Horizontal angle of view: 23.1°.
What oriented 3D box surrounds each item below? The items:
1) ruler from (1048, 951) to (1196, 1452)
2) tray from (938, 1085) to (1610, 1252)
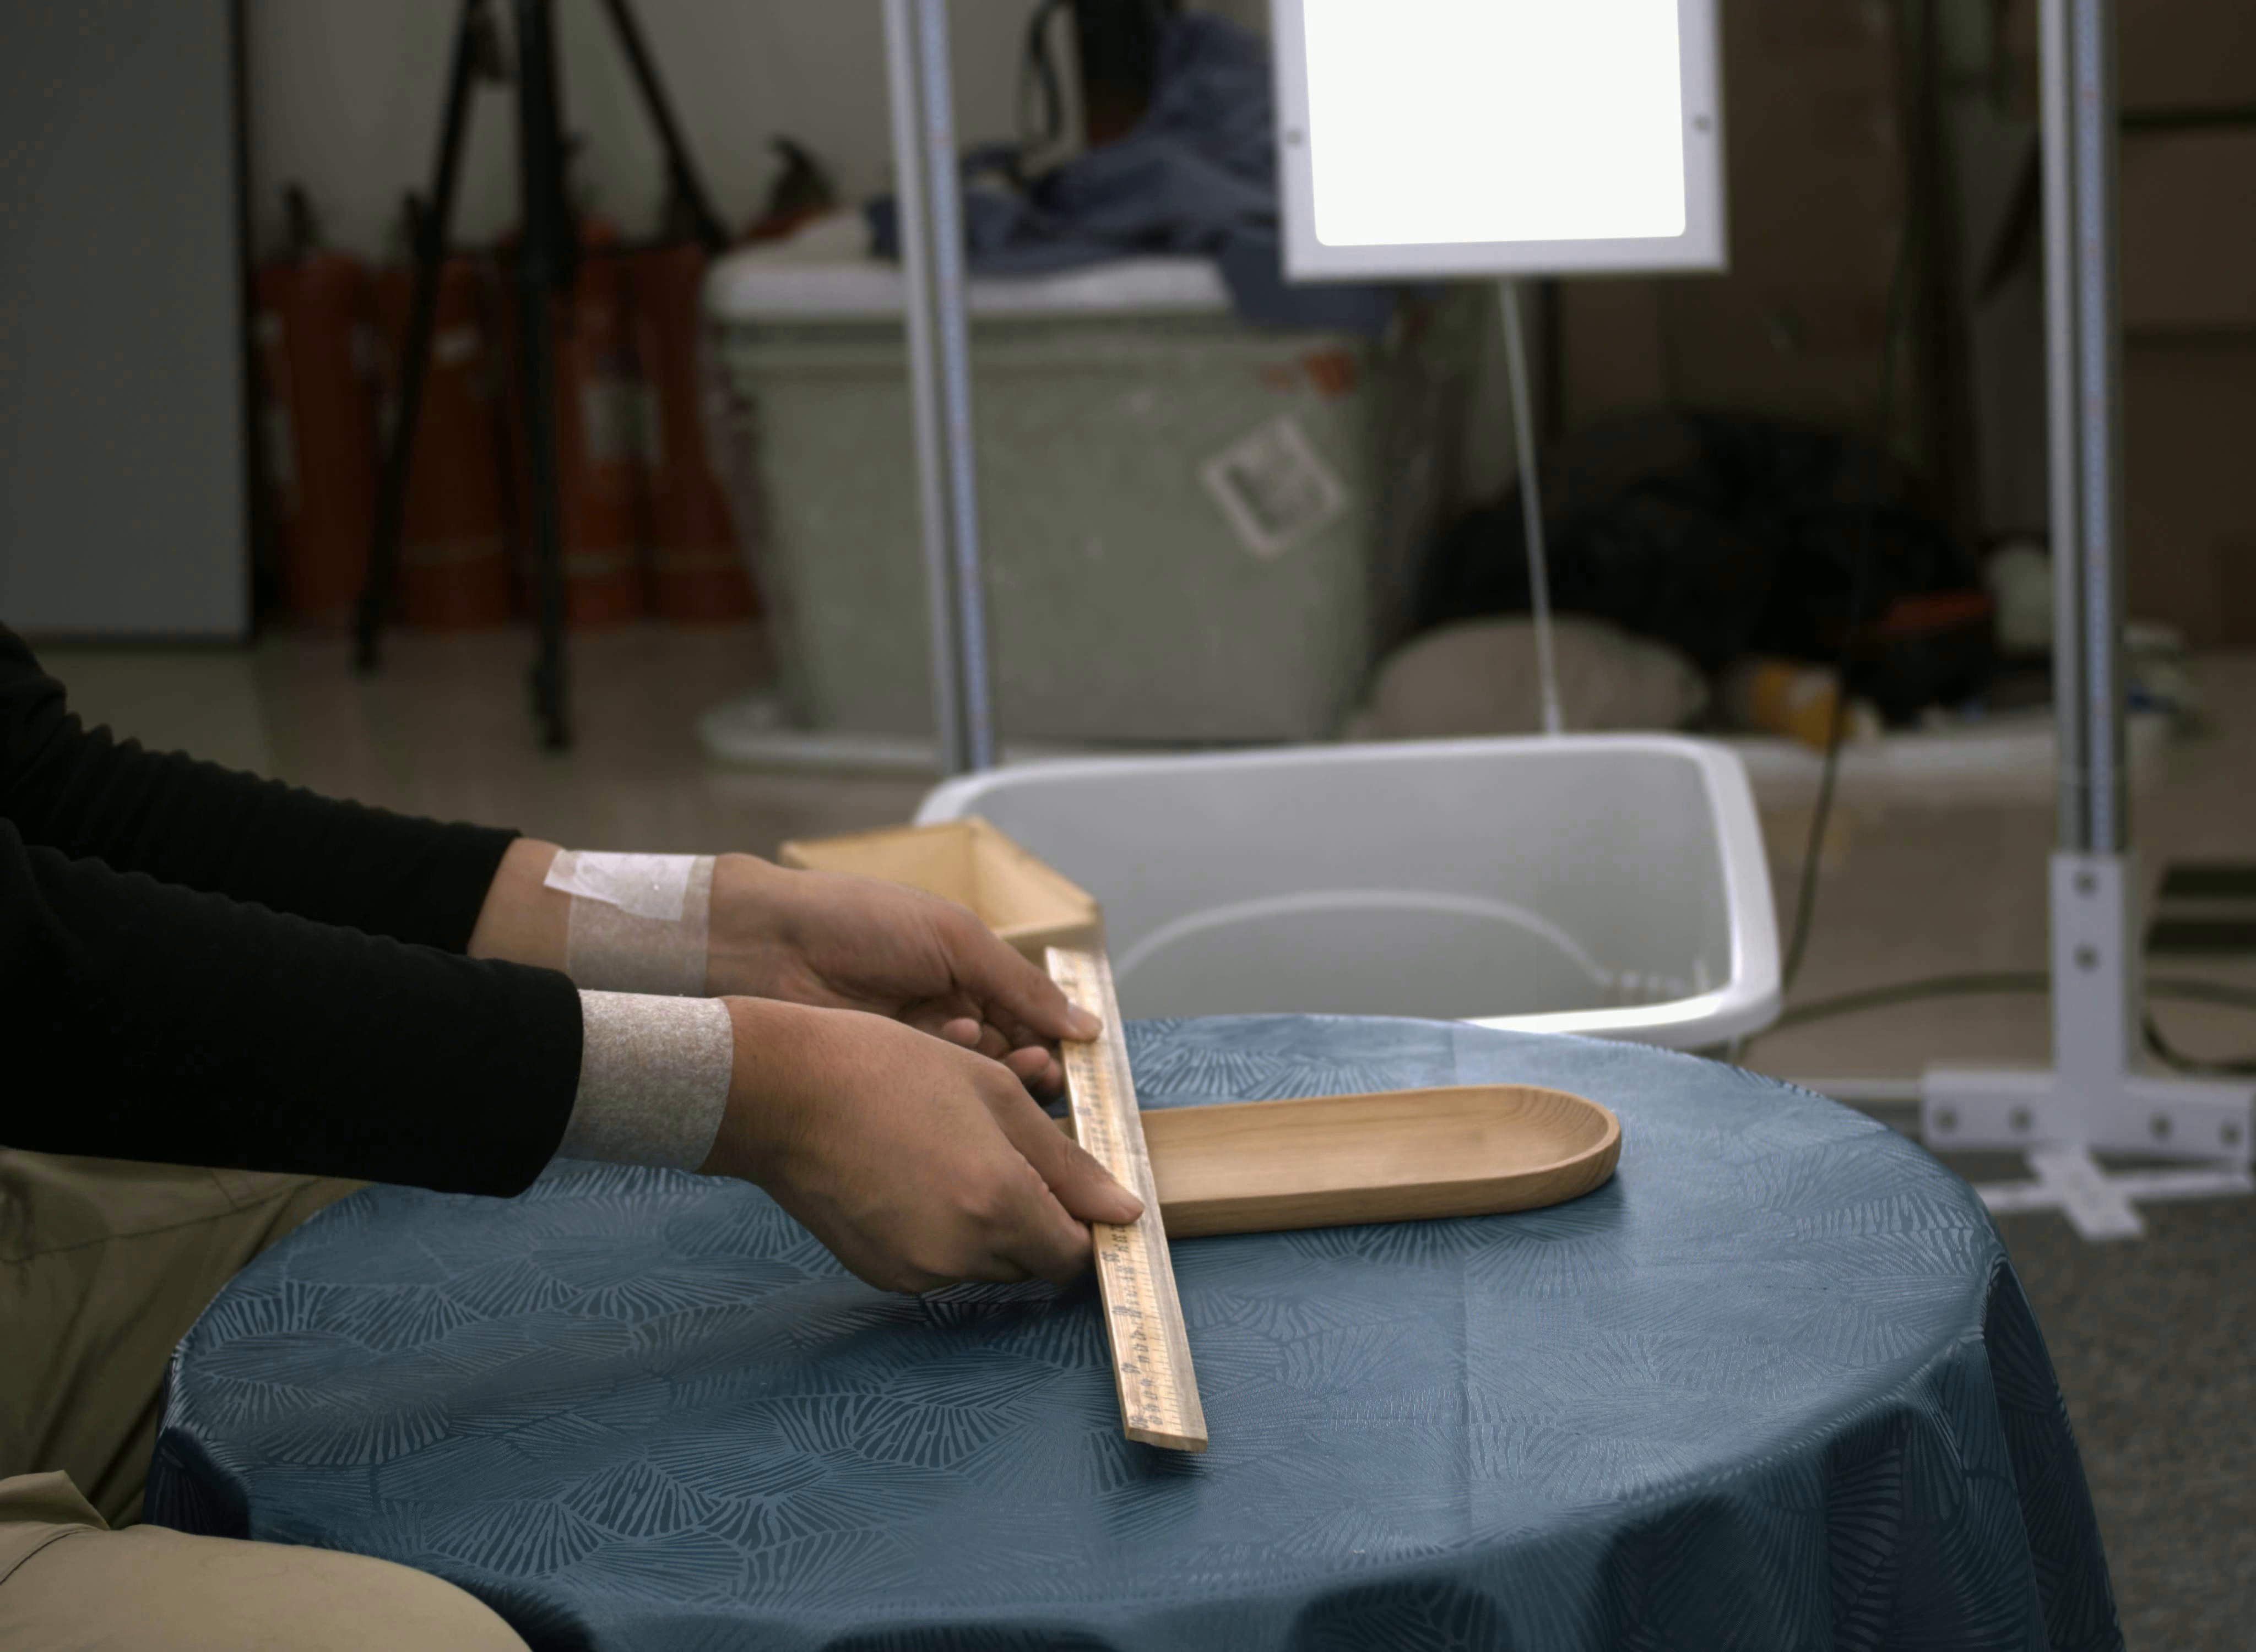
[{"bbox_3d":[-0.005,0.115,1.859,0.026,0.006,0.500,10,14,-6],"label":"ruler"},{"bbox_3d":[0.050,0.117,1.881,0.230,0.020,0.101,-7,14,1],"label":"tray"}]
